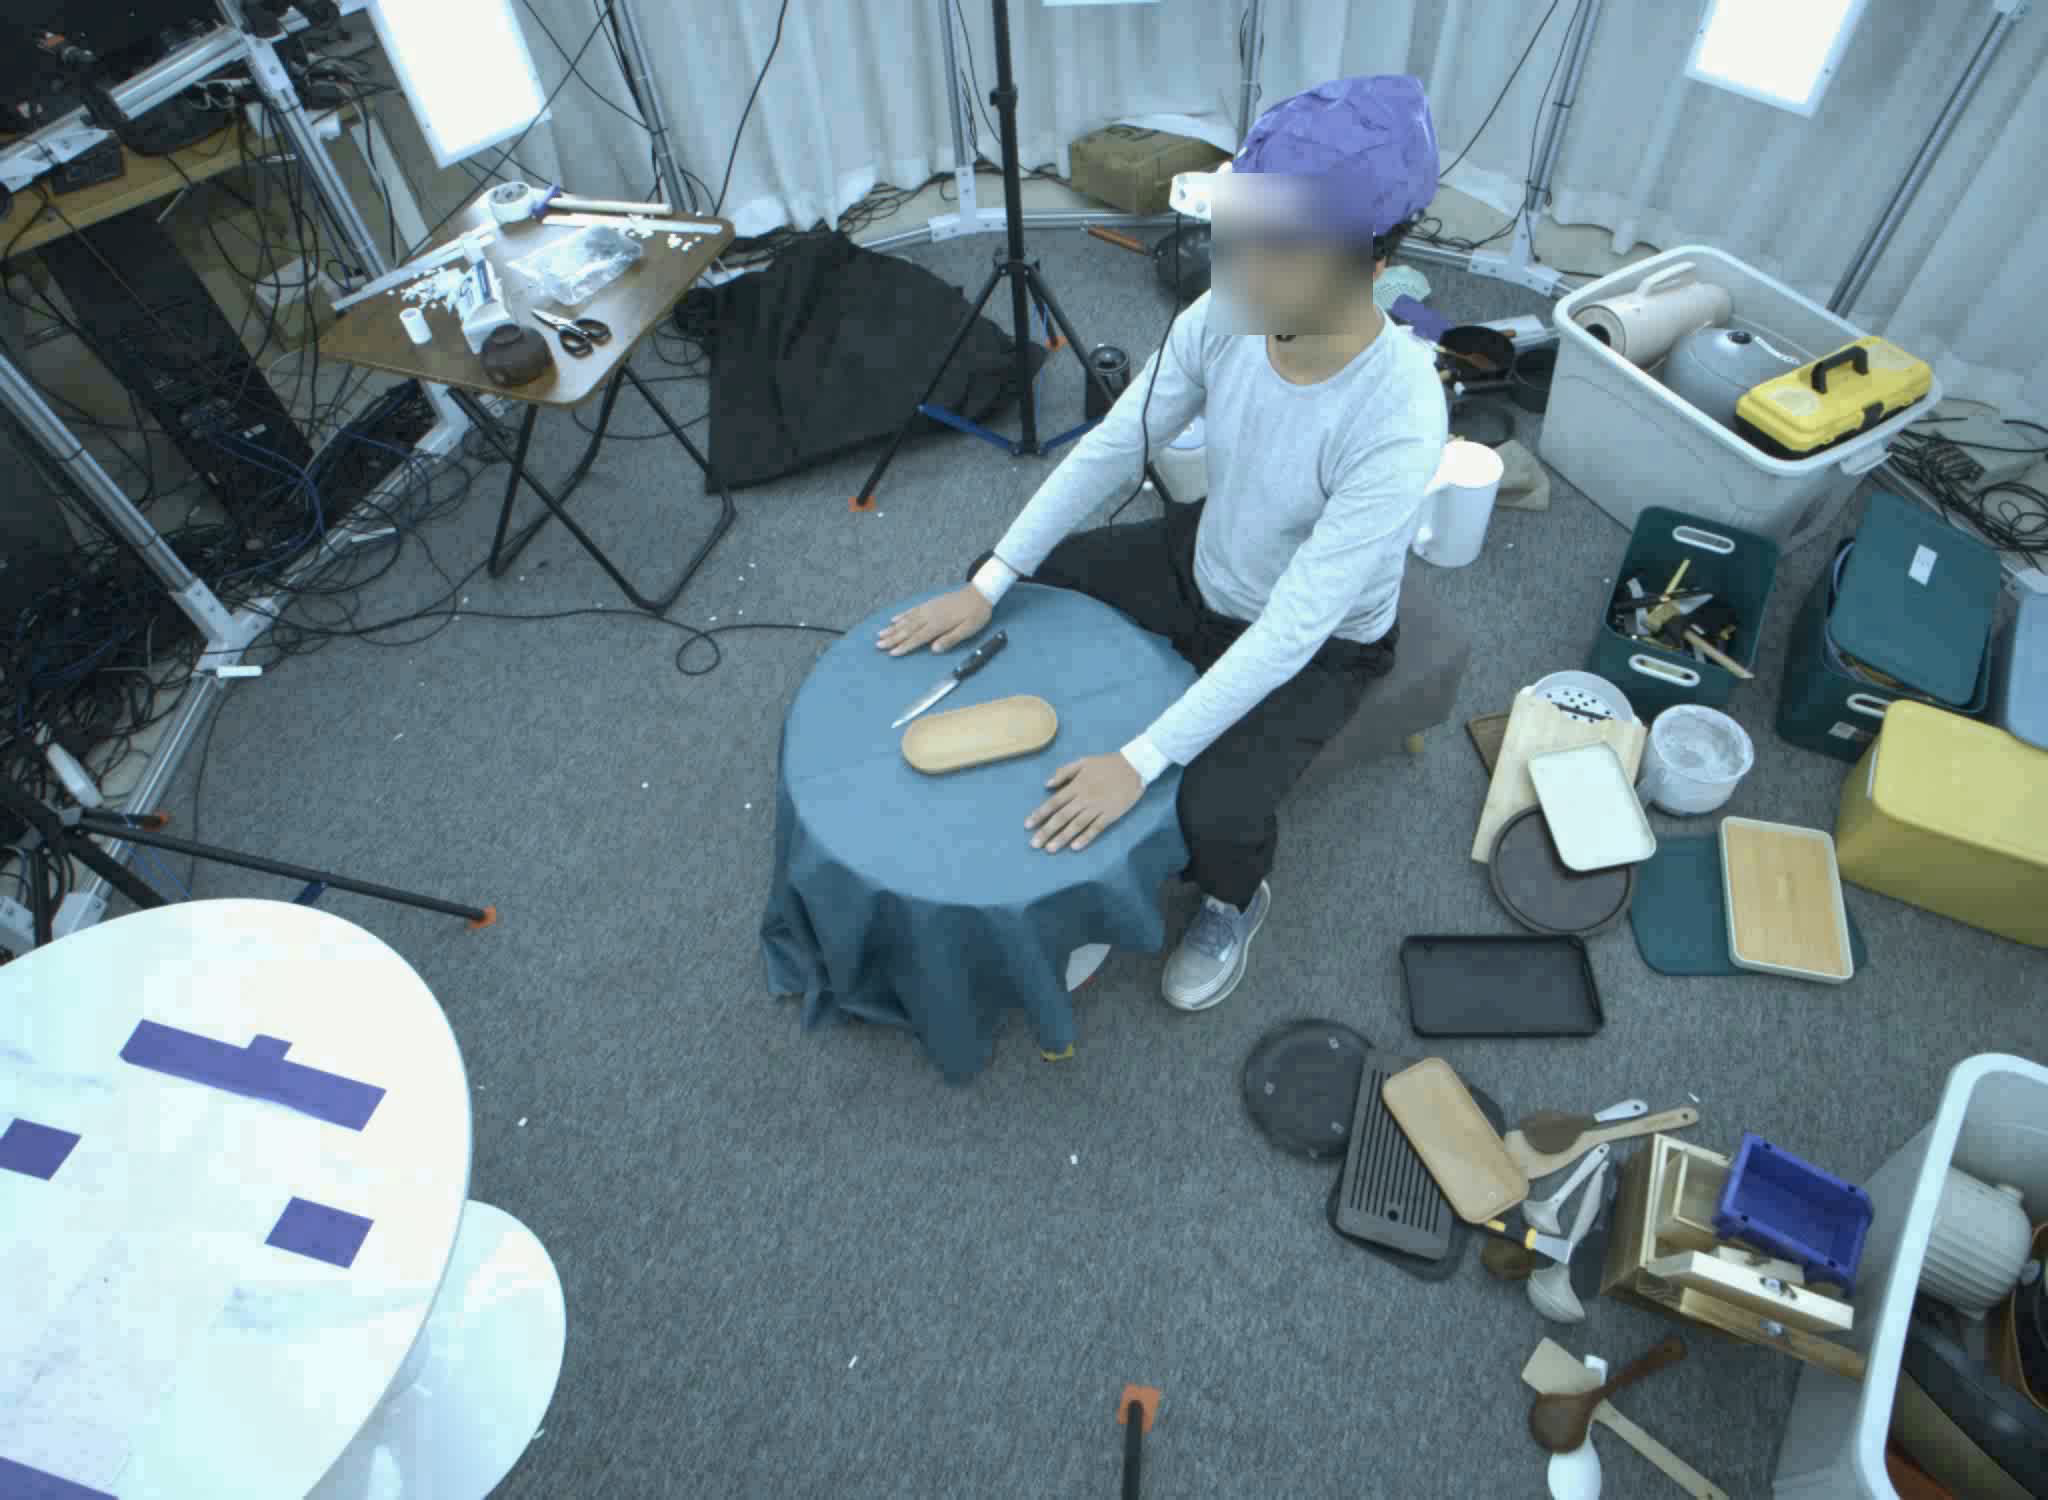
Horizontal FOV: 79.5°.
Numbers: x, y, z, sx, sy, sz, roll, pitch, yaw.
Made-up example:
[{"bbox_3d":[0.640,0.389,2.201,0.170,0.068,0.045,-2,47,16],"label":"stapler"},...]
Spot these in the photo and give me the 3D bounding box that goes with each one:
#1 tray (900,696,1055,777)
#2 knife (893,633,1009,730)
[{"bbox_3d":[-0.068,-0.020,1.802,0.232,0.020,0.100,-15,54,-8],"label":"tray"},{"bbox_3d":[-0.113,-0.105,1.867,0.024,0.016,0.239,38,66,24],"label":"knife"}]
